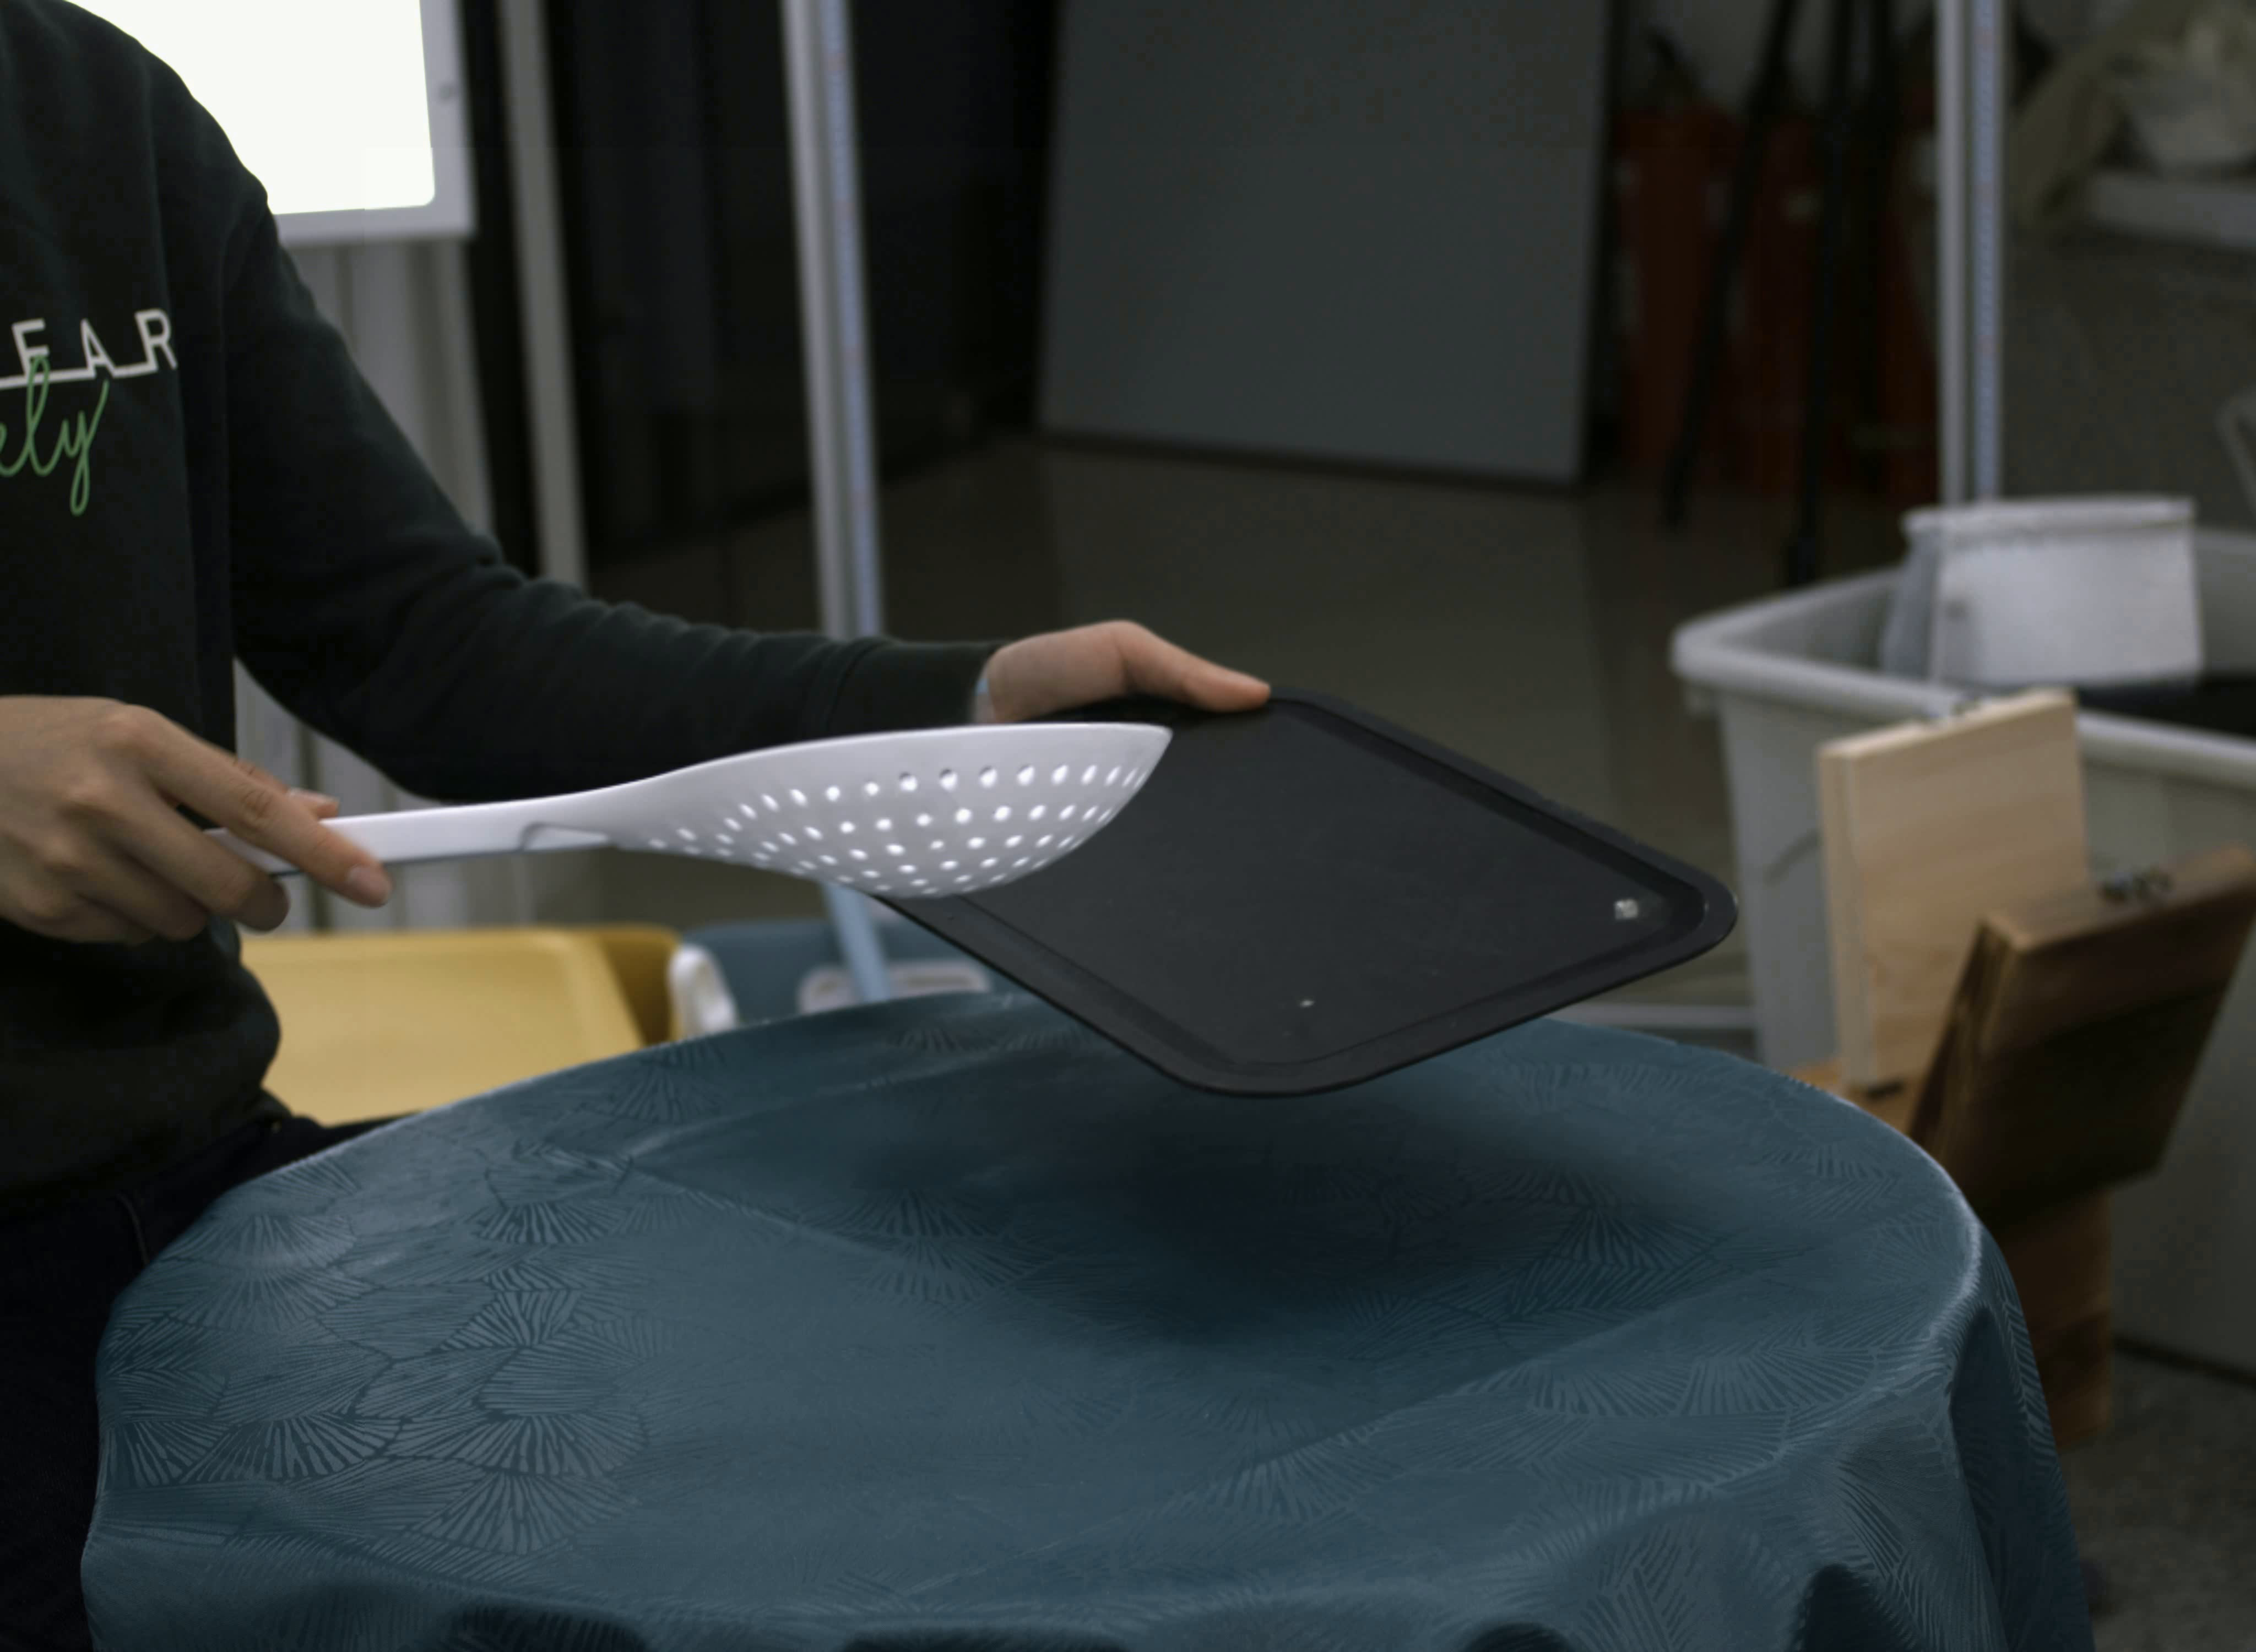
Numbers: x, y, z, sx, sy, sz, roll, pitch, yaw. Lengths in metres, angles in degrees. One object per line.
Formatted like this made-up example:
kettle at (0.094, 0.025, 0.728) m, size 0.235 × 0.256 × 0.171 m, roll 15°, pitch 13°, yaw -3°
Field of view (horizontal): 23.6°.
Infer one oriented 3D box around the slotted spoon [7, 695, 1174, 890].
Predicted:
slotted spoon at (-0.156, -0.008, 1.531) m, size 0.348 × 0.046 × 0.135 m, roll -2°, pitch -2°, yaw 16°

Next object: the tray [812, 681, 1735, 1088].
tray at (0.037, 0.011, 1.770) m, size 0.207 × 0.010 × 0.329 m, roll -19°, pitch 25°, yaw -26°
